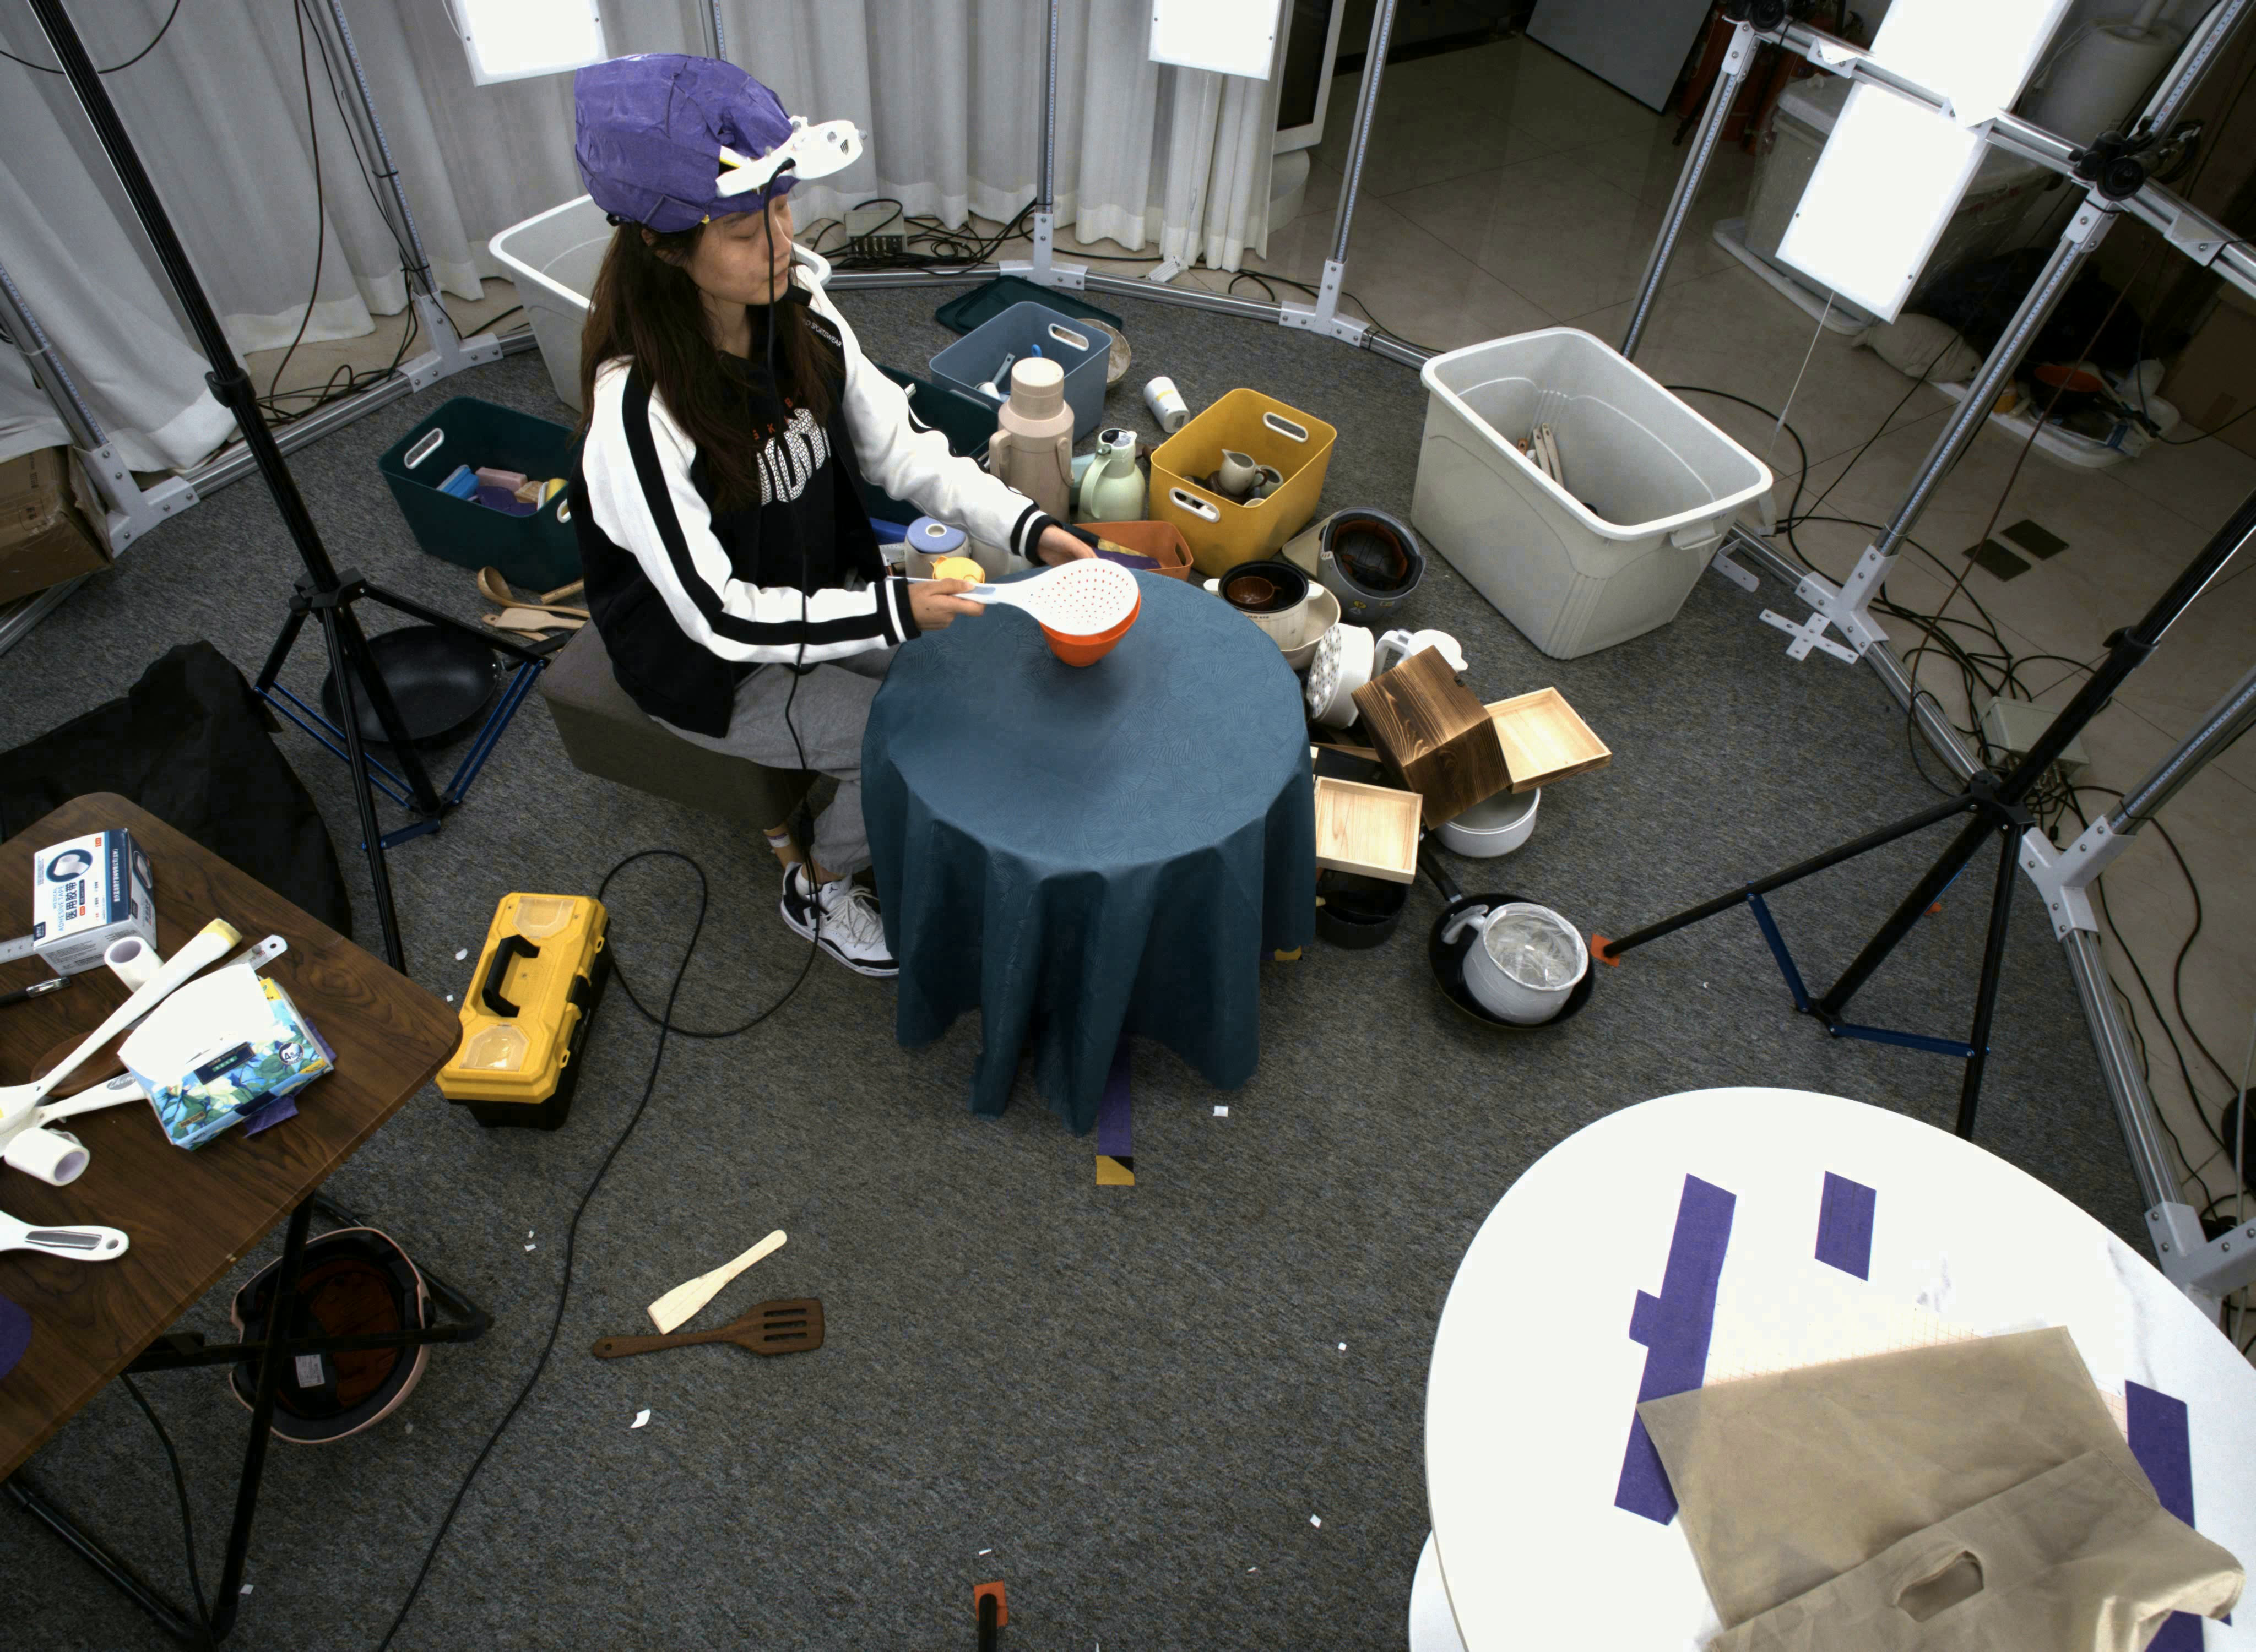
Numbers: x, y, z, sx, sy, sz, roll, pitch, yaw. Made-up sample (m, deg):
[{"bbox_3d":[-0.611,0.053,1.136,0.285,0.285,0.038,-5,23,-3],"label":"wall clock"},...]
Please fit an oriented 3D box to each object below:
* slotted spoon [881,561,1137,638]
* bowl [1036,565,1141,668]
[{"bbox_3d":[-0.160,-0.306,1.710,0.350,0.044,0.139,9,55,8],"label":"slotted spoon"},{"bbox_3d":[-0.057,-0.289,1.843,0.148,0.102,0.151,1,55,-2],"label":"bowl"}]
